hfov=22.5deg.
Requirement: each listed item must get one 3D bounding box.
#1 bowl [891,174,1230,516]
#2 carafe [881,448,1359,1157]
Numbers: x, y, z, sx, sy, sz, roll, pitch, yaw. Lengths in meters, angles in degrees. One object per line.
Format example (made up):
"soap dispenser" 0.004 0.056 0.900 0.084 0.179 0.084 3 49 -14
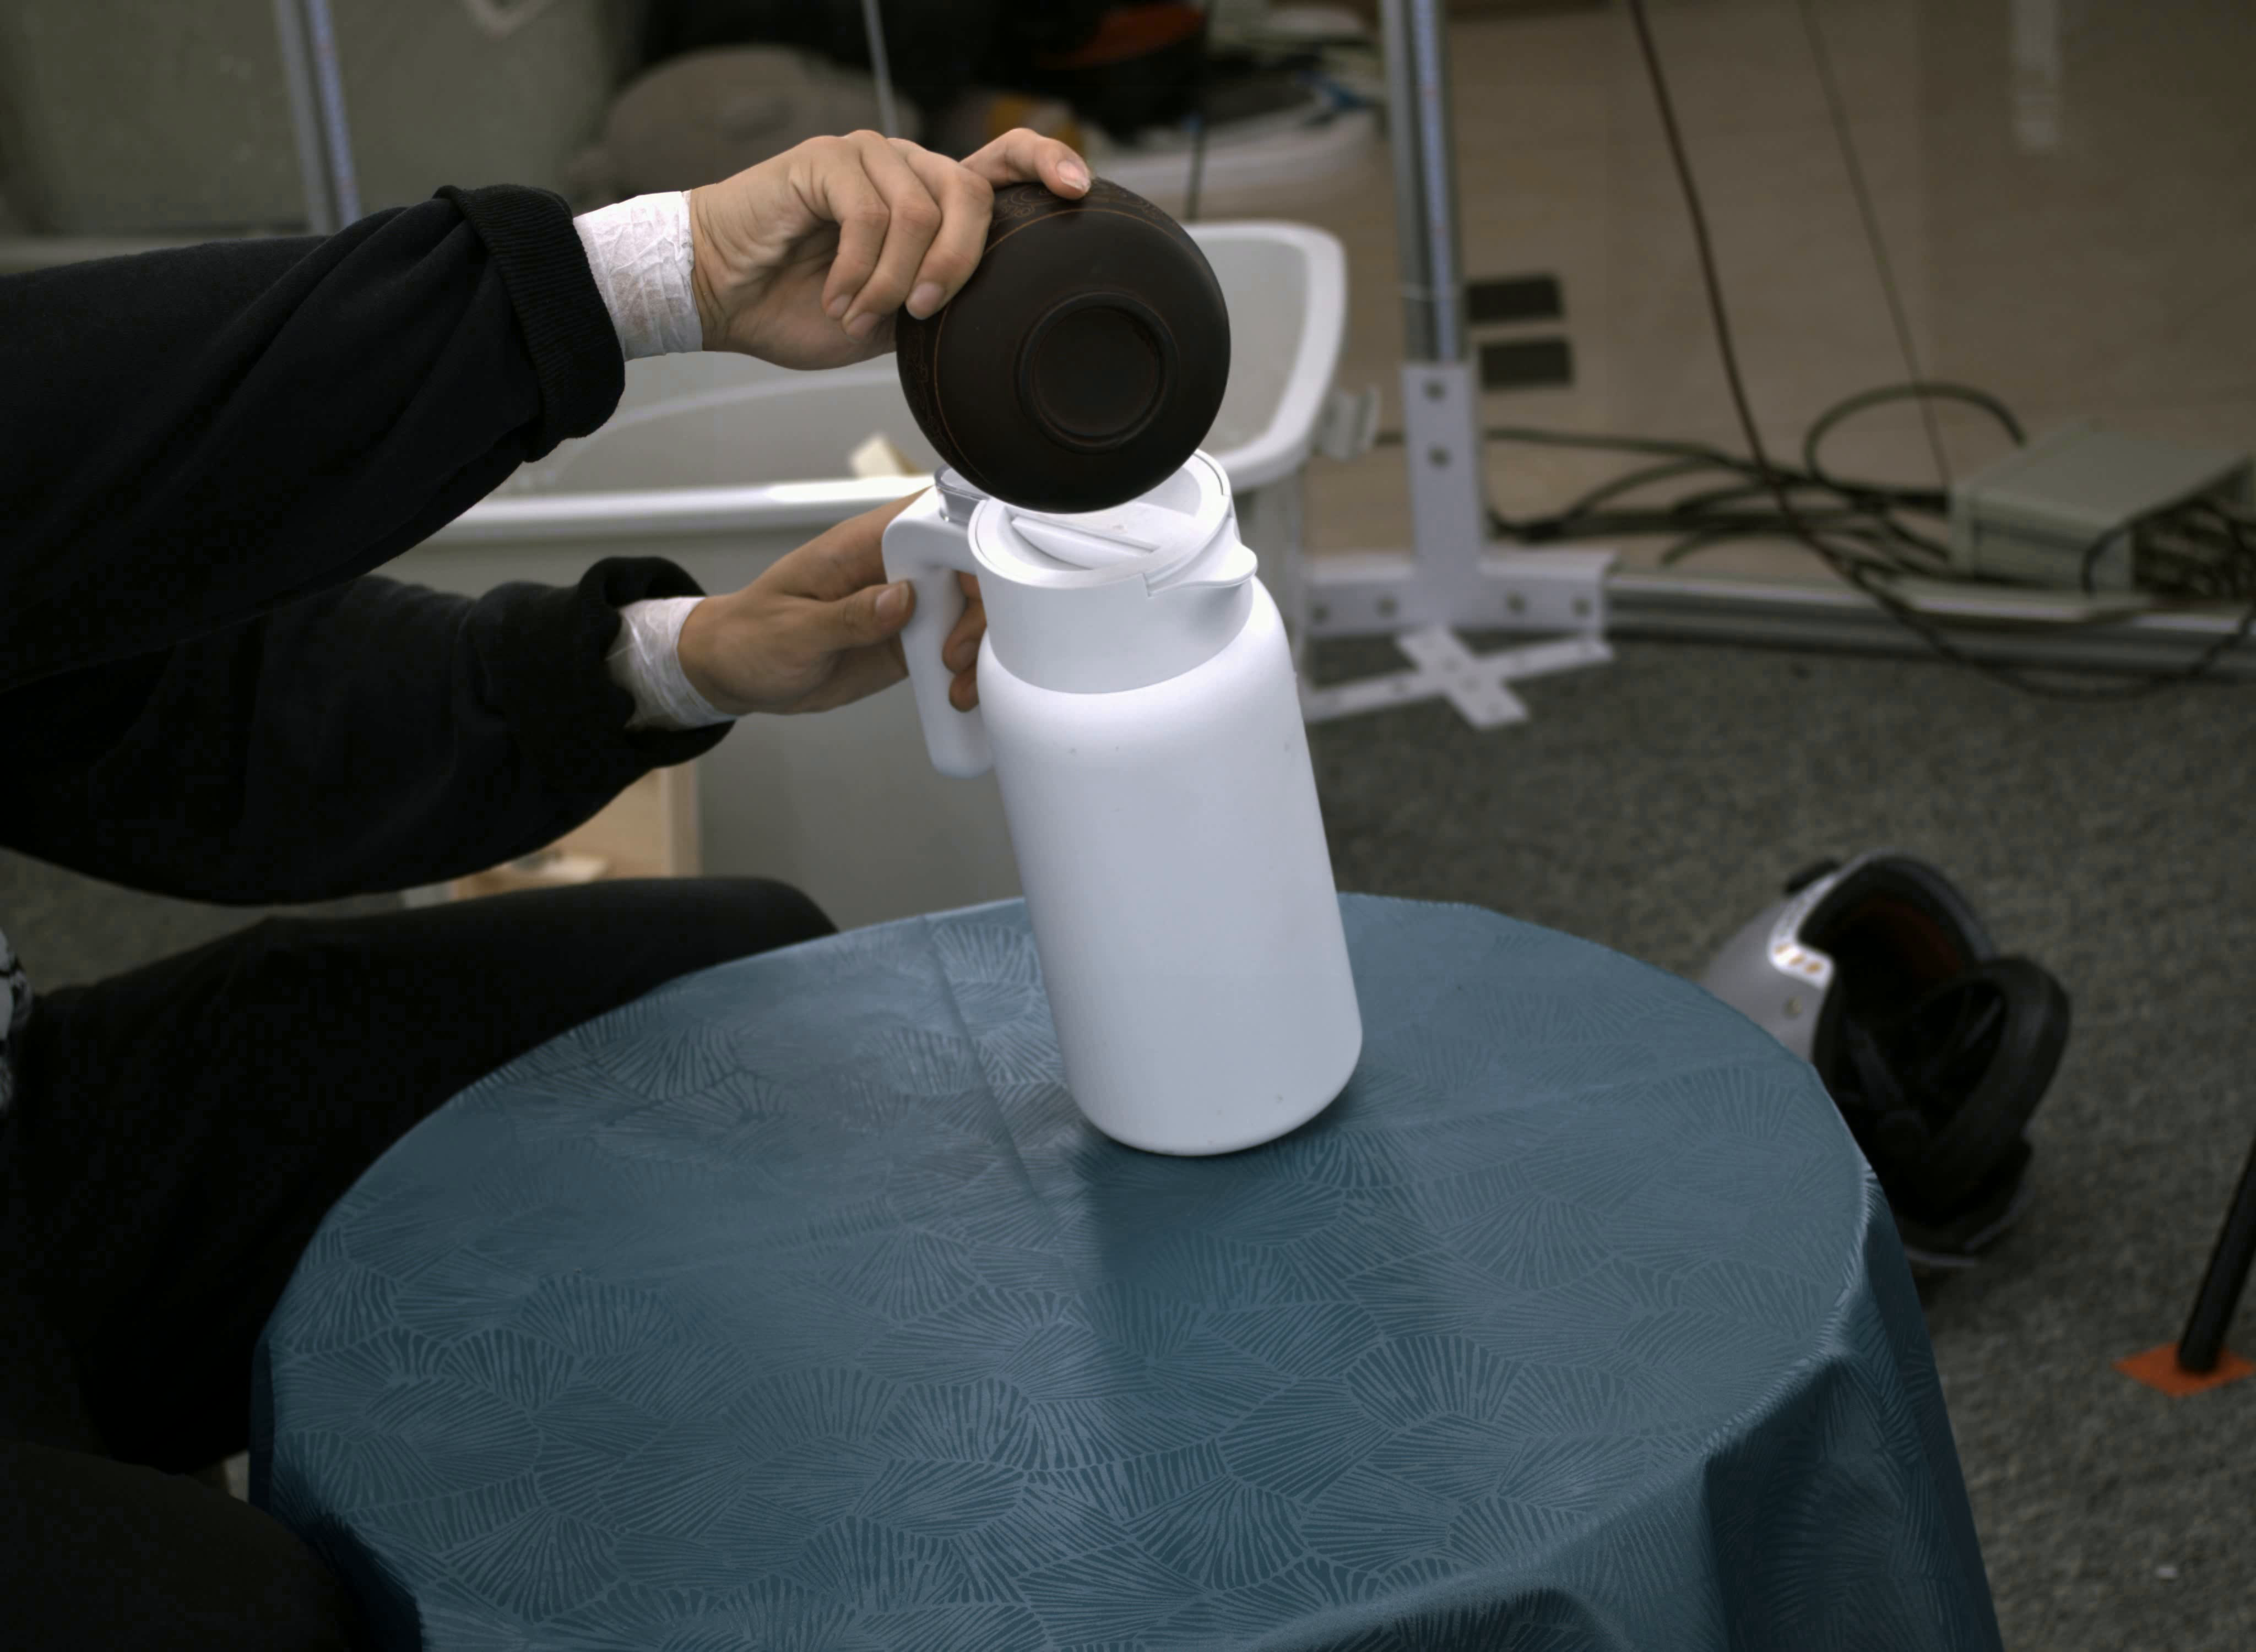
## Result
"bowl" -0.020 -0.164 1.966 0.118 0.119 0.069 -11 20 -11
"carafe" -0.003 -0.013 2.139 0.171 0.274 0.122 16 47 33
